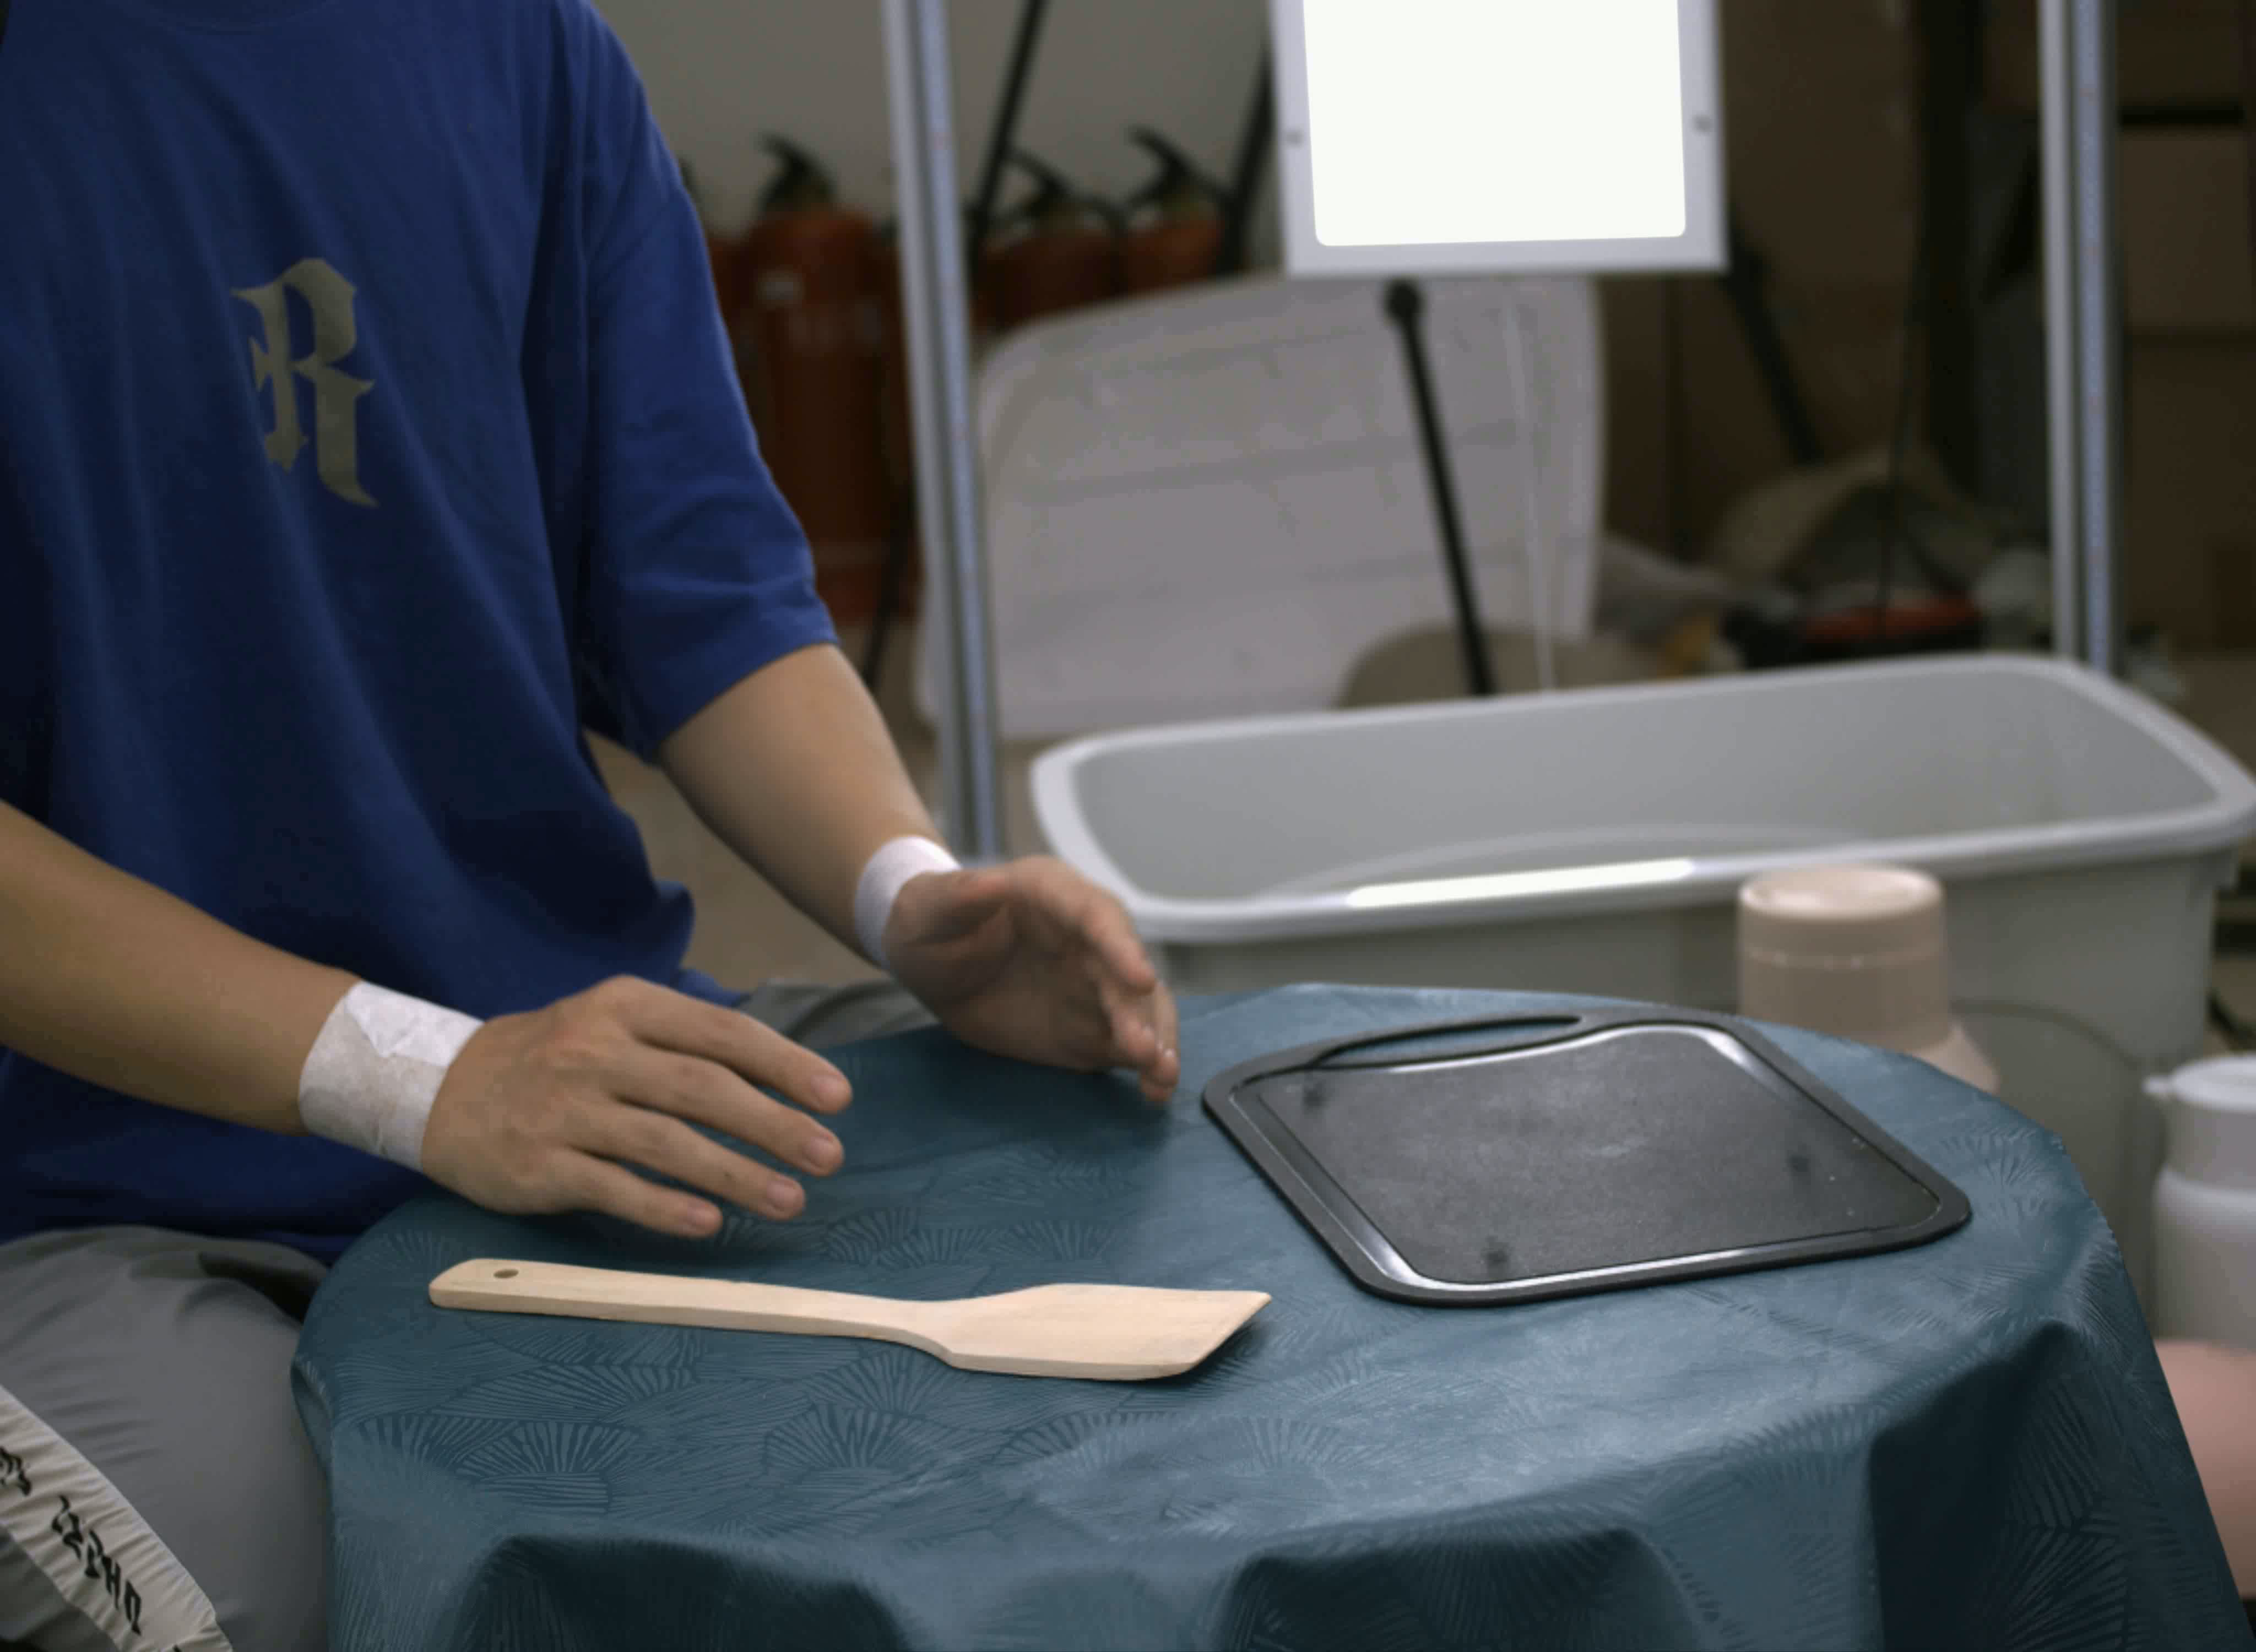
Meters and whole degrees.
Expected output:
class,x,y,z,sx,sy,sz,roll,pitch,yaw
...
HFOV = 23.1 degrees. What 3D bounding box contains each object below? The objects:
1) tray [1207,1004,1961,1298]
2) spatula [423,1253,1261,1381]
class,x,y,z,sx,sy,sz,roll,pitch,yaw
tray,0.149,0.106,1.908,0.209,0.010,0.327,-7,14,-9
spatula,-0.101,0.157,1.792,0.298,0.011,0.071,2,17,26
